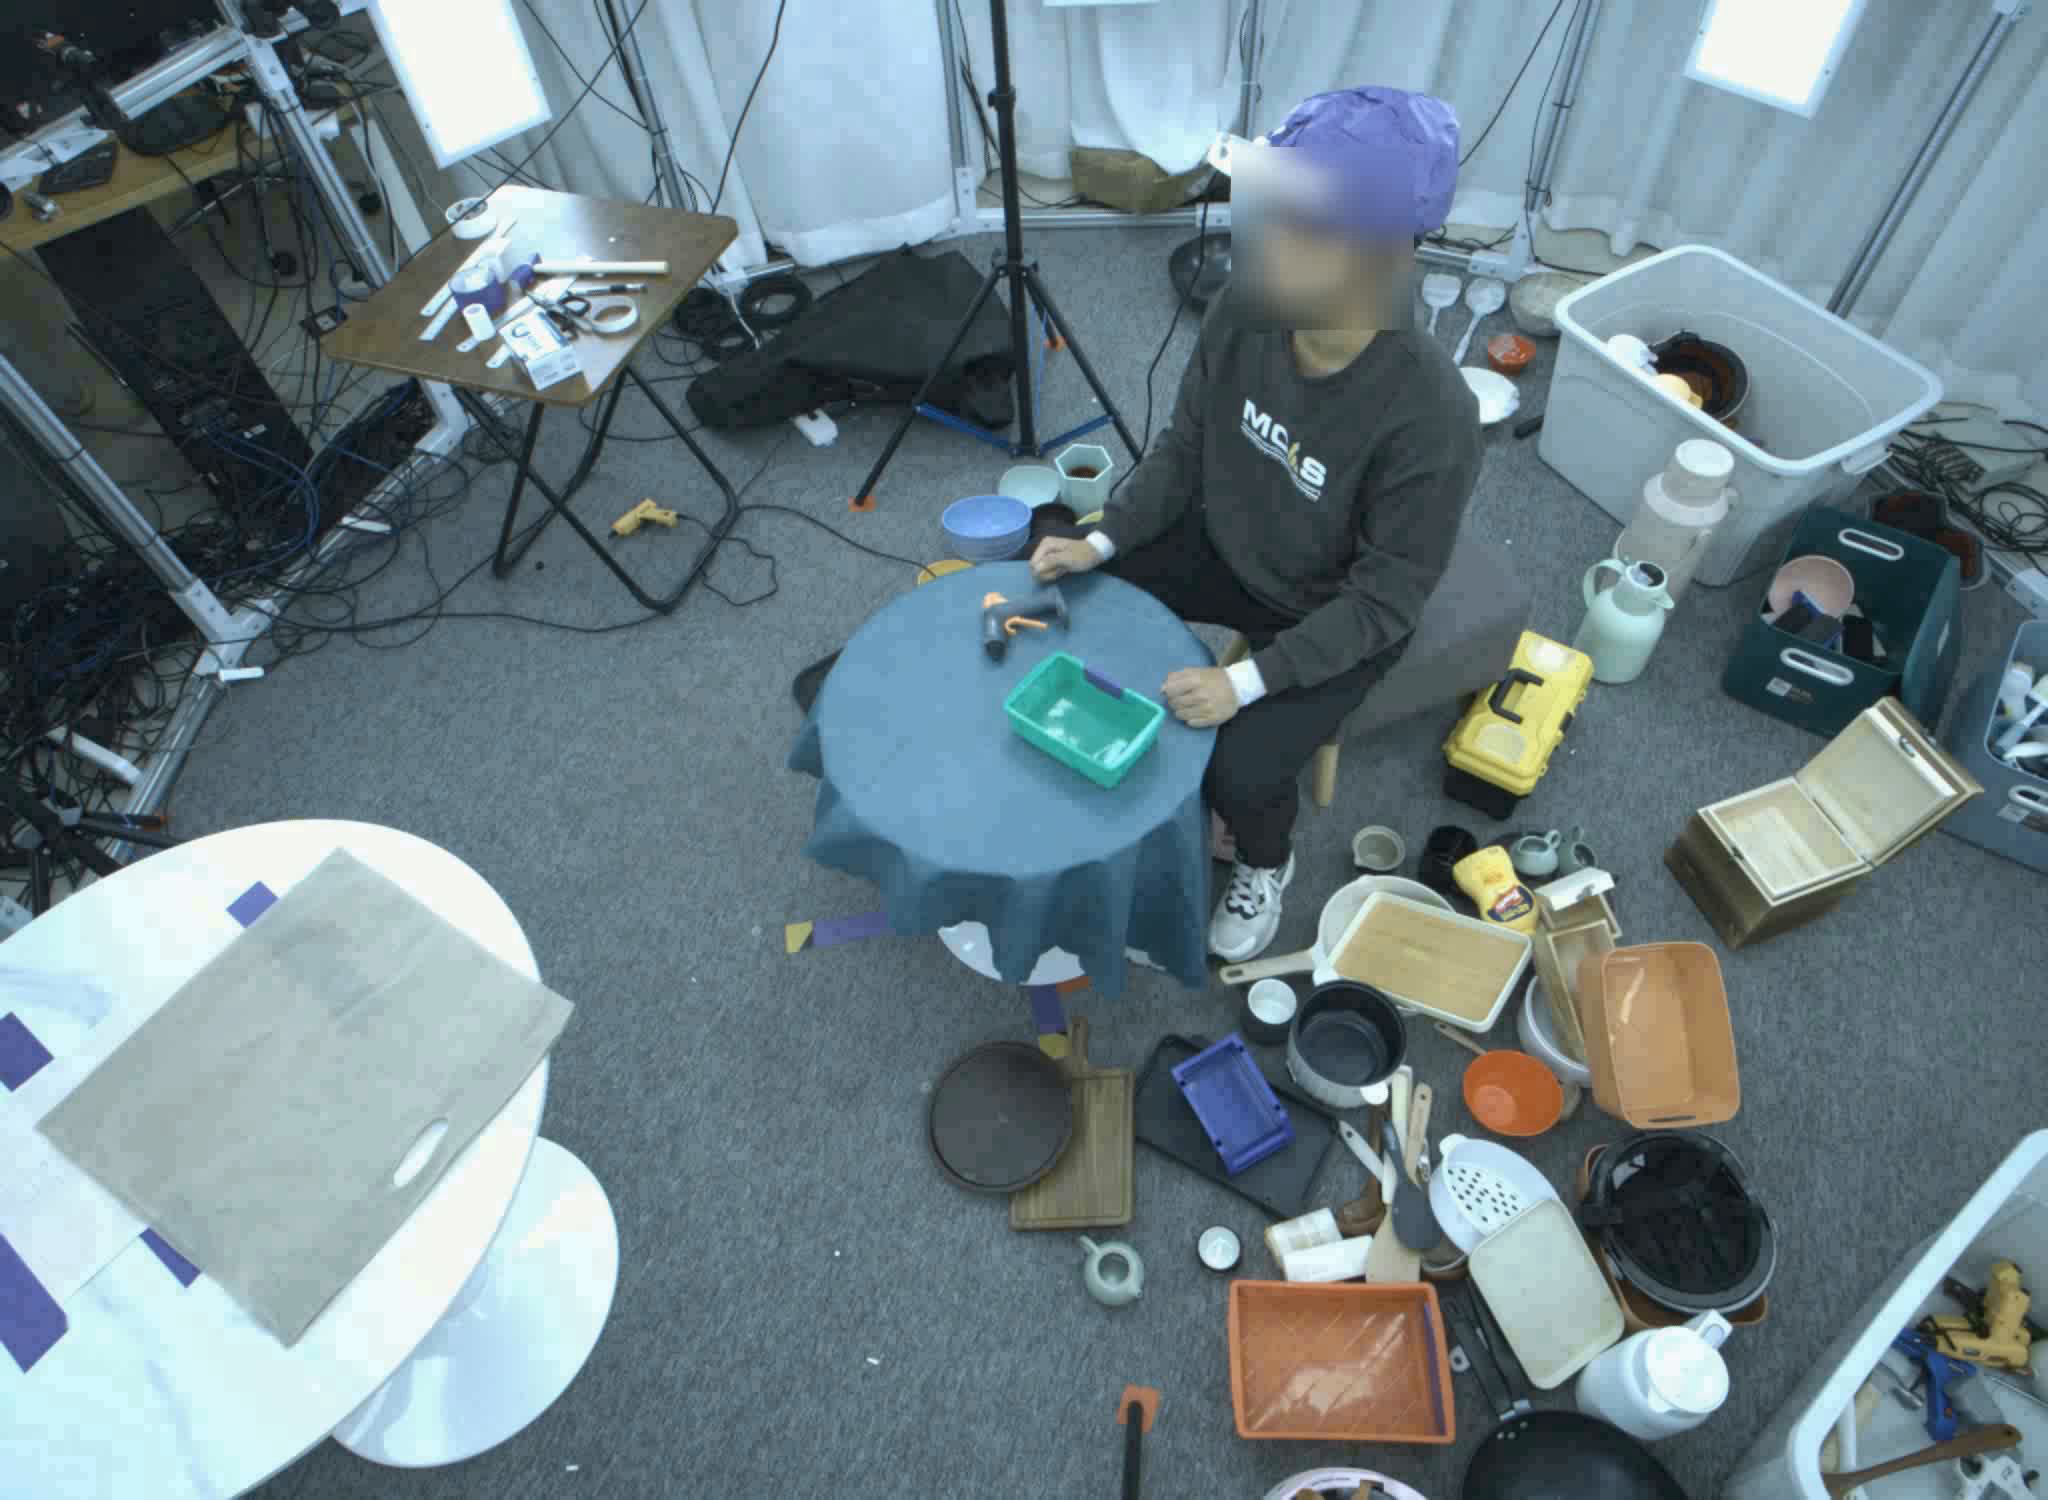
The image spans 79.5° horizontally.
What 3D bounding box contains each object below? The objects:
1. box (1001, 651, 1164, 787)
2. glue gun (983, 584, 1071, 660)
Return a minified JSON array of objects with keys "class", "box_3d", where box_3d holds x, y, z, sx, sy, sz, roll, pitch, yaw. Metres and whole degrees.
[{"class":"box","box_3d":[0.084,-0.042,1.775,0.207,0.066,0.139,30,60,24]},{"class":"glue gun","box_3d":[-0.002,-0.202,1.911,0.140,0.041,0.116,-19,57,-8]}]
